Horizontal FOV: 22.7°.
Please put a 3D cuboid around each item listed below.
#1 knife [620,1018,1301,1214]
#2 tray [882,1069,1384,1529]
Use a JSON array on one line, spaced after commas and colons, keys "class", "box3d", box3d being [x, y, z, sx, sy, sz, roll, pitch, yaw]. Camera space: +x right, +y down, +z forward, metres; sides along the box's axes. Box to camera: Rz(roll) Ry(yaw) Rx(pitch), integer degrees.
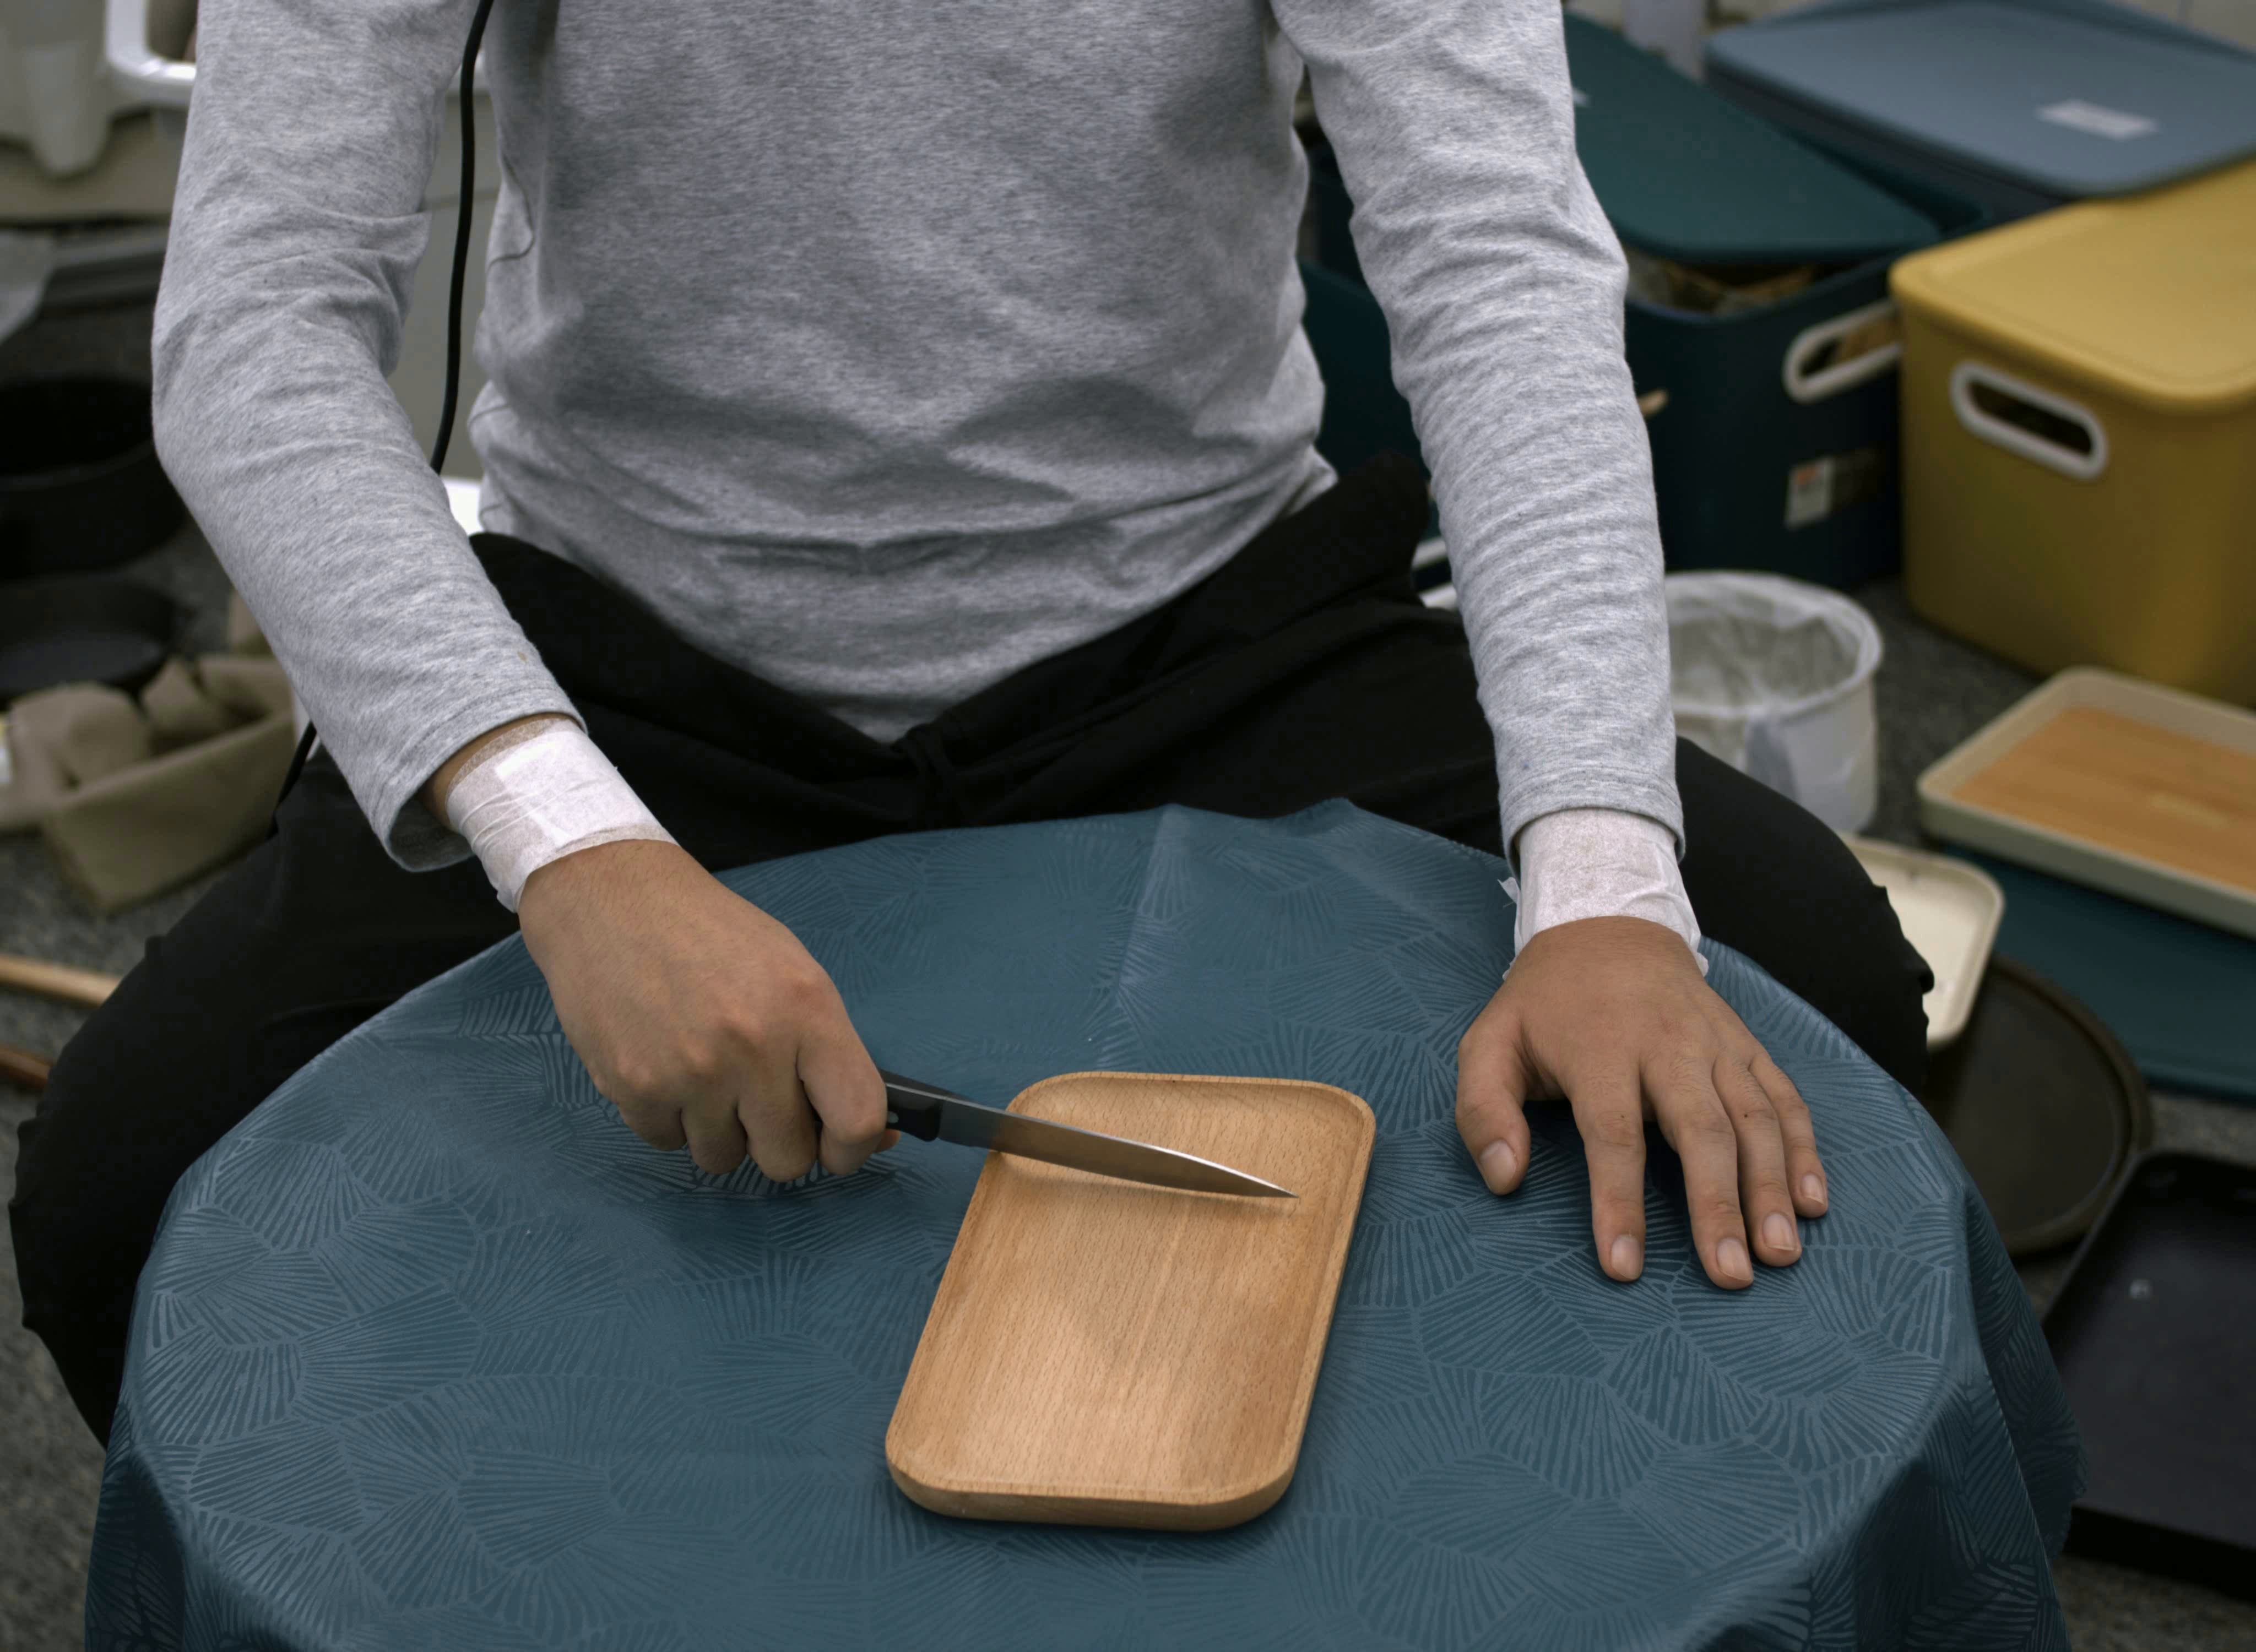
[{"class": "knife", "box3d": [-0.056, 0.097, 1.854, 0.237, 0.024, 0.016, 13, 46, 12]}, {"class": "tray", "box3d": [0.005, 0.148, 1.792, 0.130, 0.022, 0.255, 5, 27, 9]}]
